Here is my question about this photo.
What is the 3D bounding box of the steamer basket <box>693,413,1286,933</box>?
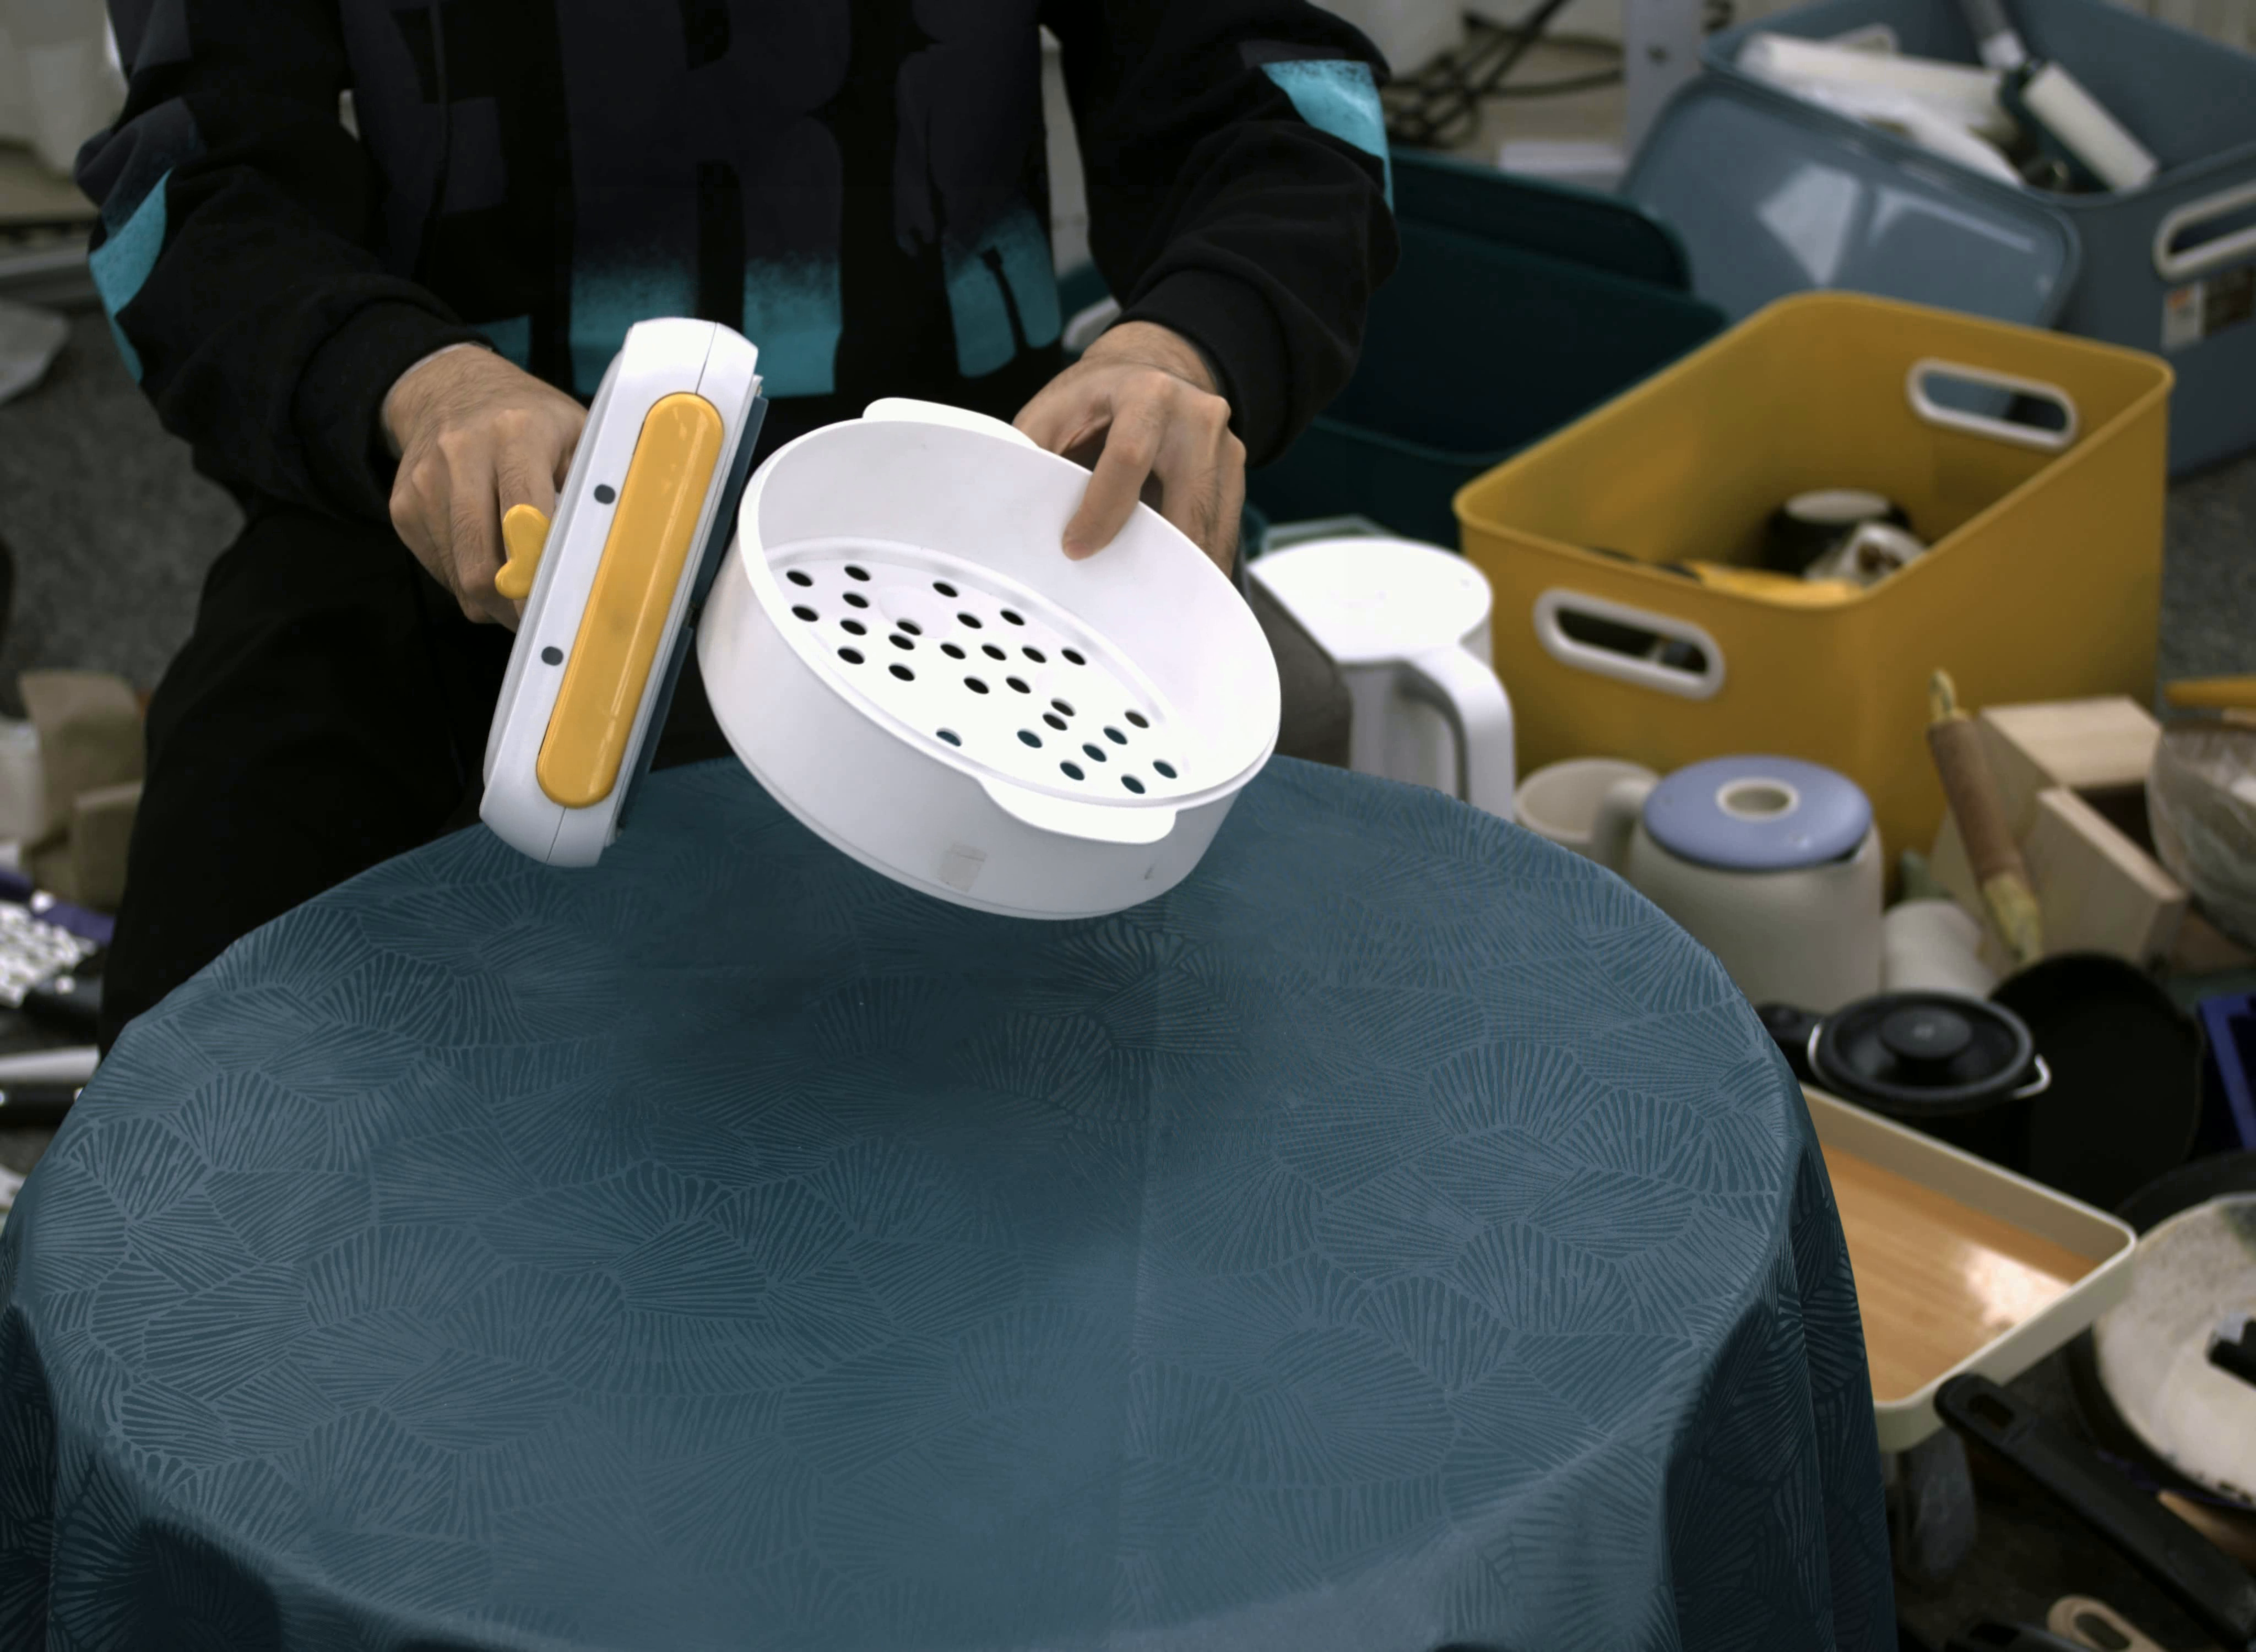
[{"bbox_3d":[-0.048,-0.049,1.918,0.202,0.068,0.234,12,34,-27],"label":"steamer basket"}]

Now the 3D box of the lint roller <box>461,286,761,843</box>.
[{"bbox_3d":[-0.191,-0.096,1.969,0.074,0.193,0.192,12,1,-15],"label":"lint roller"}]
